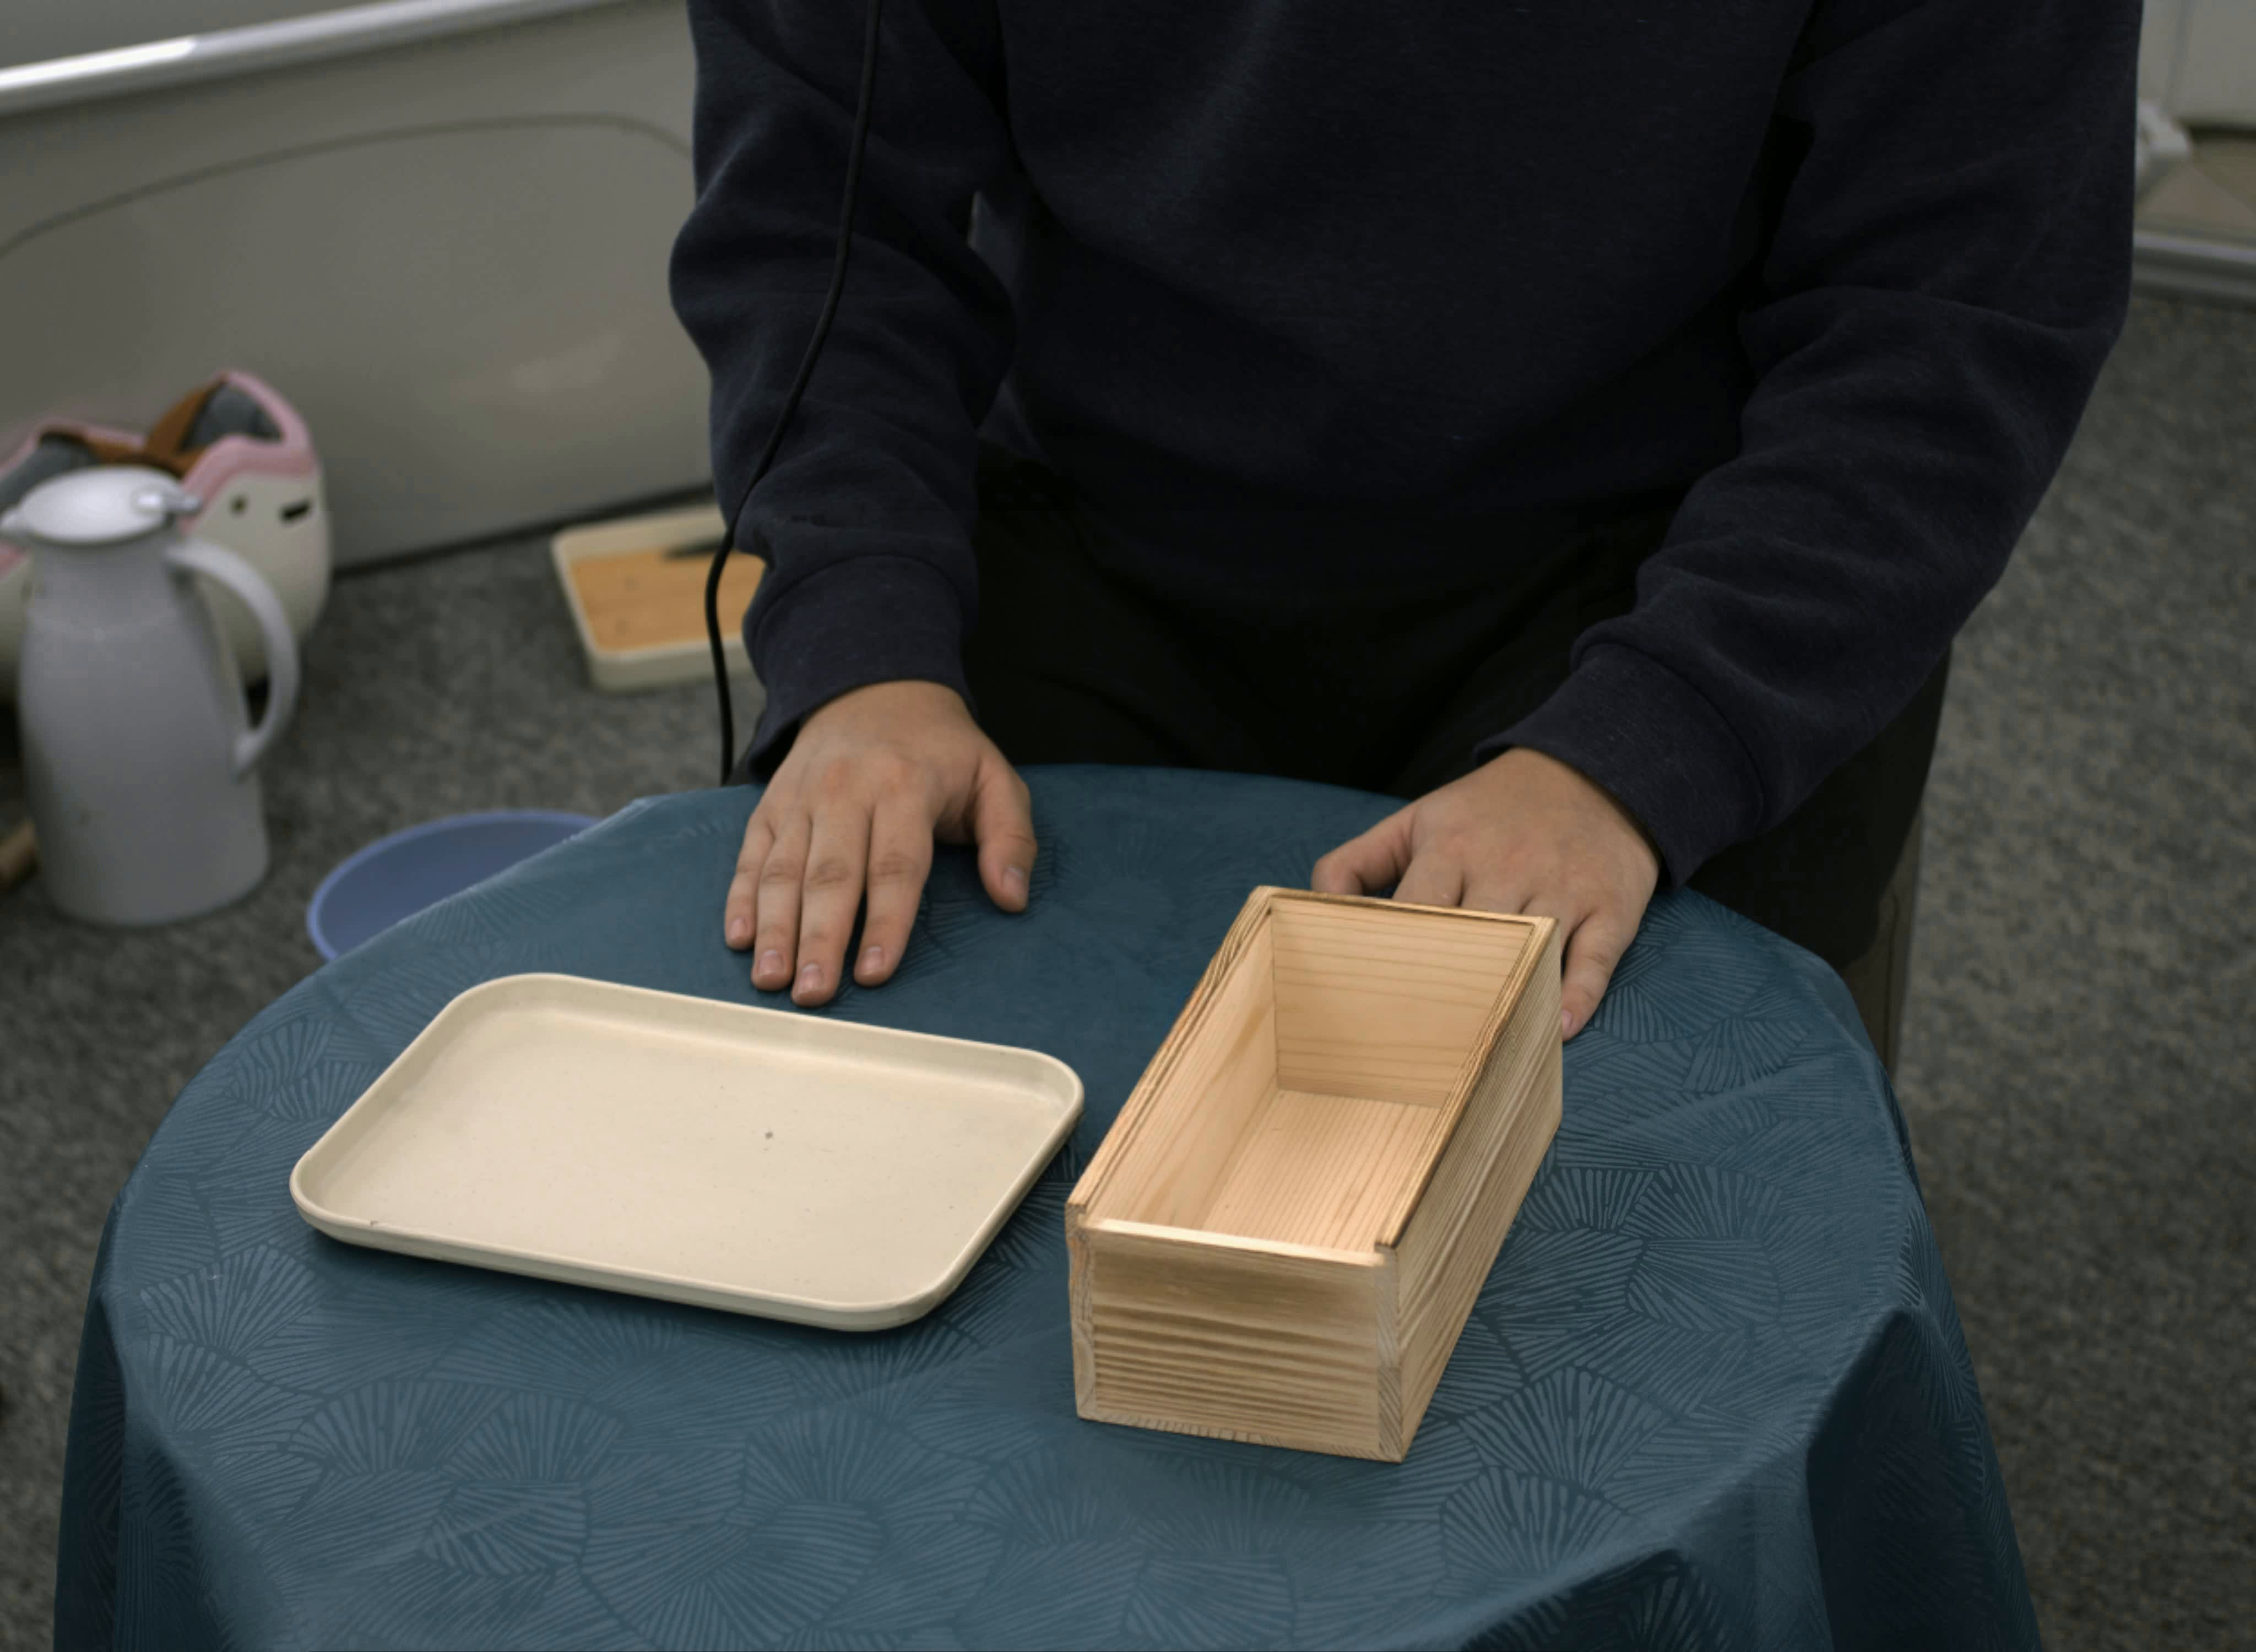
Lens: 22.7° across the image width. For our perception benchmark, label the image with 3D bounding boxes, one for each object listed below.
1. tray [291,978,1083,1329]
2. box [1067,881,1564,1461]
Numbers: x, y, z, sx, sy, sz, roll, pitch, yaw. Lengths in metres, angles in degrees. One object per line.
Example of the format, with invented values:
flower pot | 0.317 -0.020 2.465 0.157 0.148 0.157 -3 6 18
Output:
tray | -0.146 0.110 1.882 0.238 0.017 0.174 8 29 19
box | 0.064 0.107 1.802 0.107 0.079 0.215 6 28 16
